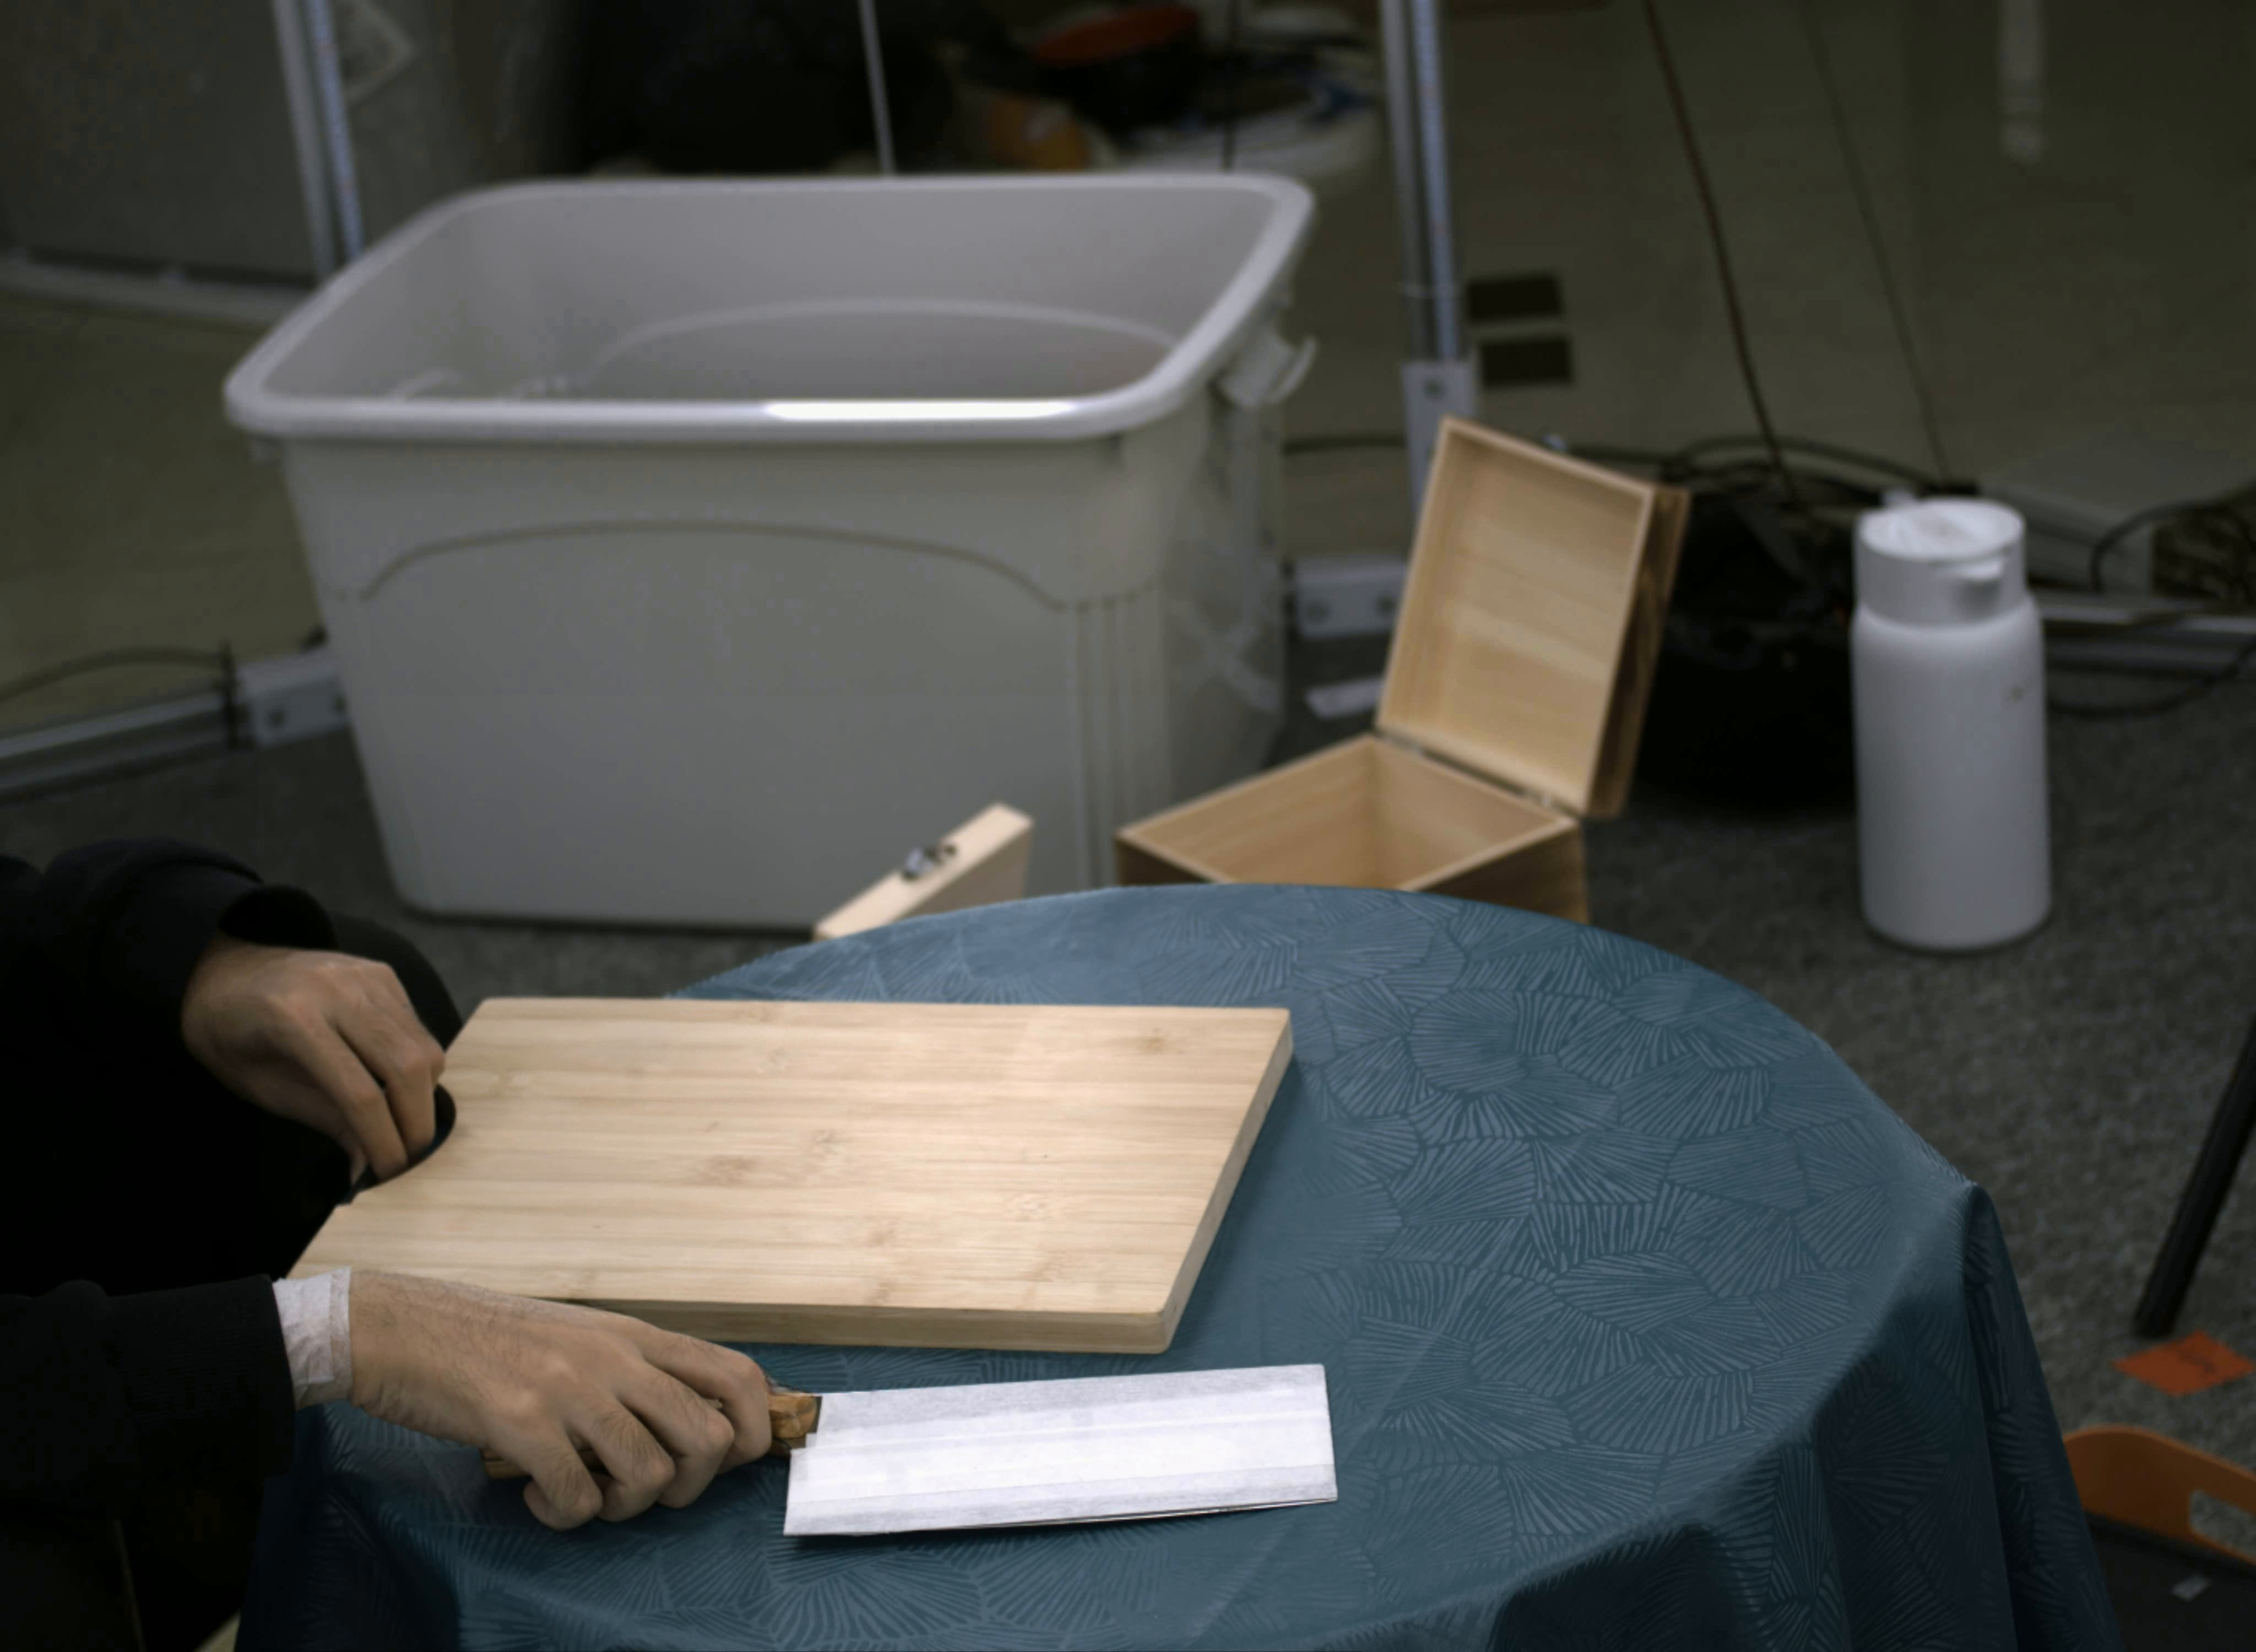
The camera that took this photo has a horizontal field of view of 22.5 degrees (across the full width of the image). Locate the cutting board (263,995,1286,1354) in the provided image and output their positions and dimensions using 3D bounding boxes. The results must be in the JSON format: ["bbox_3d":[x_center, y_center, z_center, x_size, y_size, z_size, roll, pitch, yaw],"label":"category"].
[{"bbox_3d":[-0.130,0.130,2.178,0.348,0.024,0.247,0,26,13],"label":"cutting board"}]

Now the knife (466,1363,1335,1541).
[{"bbox_3d":[-0.081,0.219,1.977,0.305,0.021,0.091,-4,27,1],"label":"knife"}]
